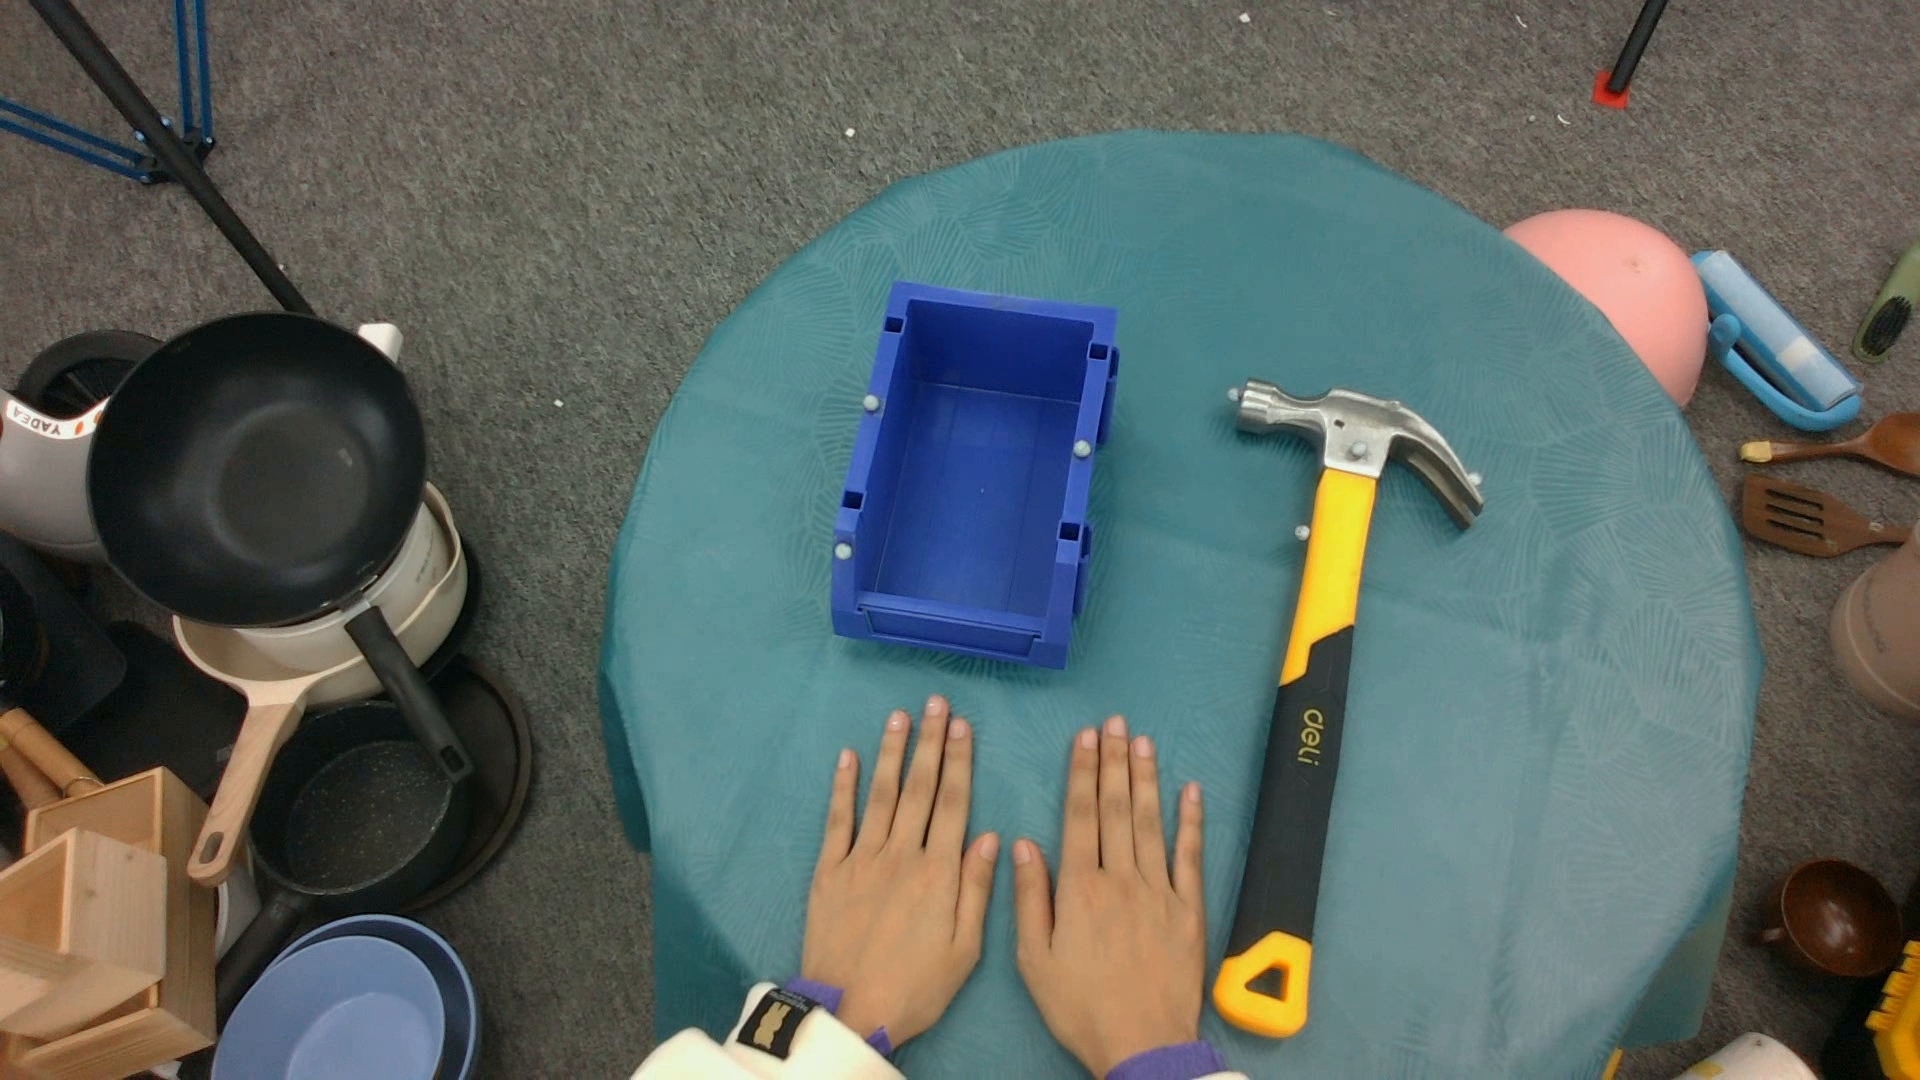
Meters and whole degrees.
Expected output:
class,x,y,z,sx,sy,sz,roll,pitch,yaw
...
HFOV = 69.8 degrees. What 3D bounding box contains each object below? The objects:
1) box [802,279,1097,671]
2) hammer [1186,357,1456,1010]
class,x,y,z,sx,sy,sz,roll,pitch,yaw
box,-0.002,-0.032,0.710,0.124,0.081,0.180,9,62,5
hammer,0.165,0.061,0.689,0.131,0.032,0.340,14,65,6
